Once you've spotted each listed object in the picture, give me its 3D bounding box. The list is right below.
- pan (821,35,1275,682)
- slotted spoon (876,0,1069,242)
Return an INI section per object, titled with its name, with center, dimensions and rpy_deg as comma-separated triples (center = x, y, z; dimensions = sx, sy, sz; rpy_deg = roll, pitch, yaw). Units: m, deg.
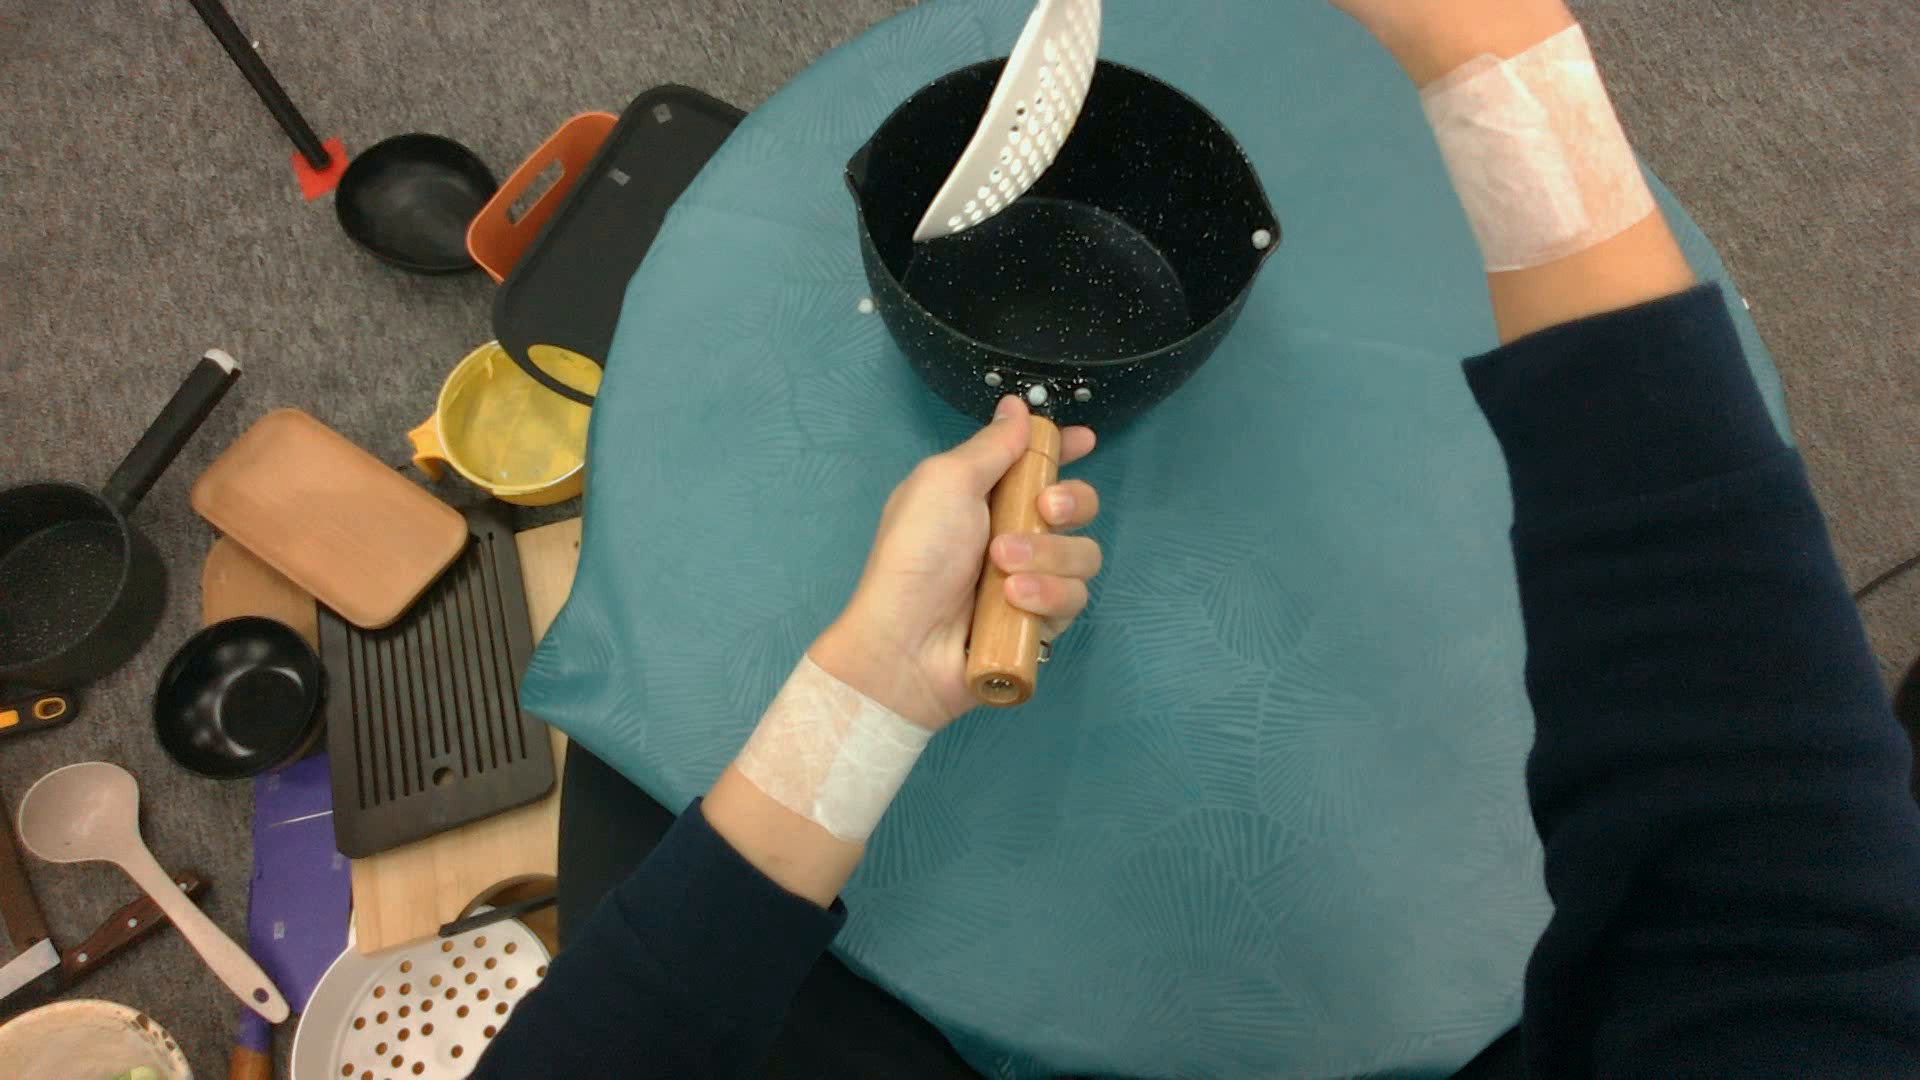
[pan]
center = 0.029, -0.079, 0.609
dimensions = 0.207, 0.108, 0.344
rpy_deg = 8, 60, -1
[slotted spoon]
center = 0.036, -0.208, 0.497
dimensions = 0.050, 0.347, 0.137
rpy_deg = 27, 74, -4
